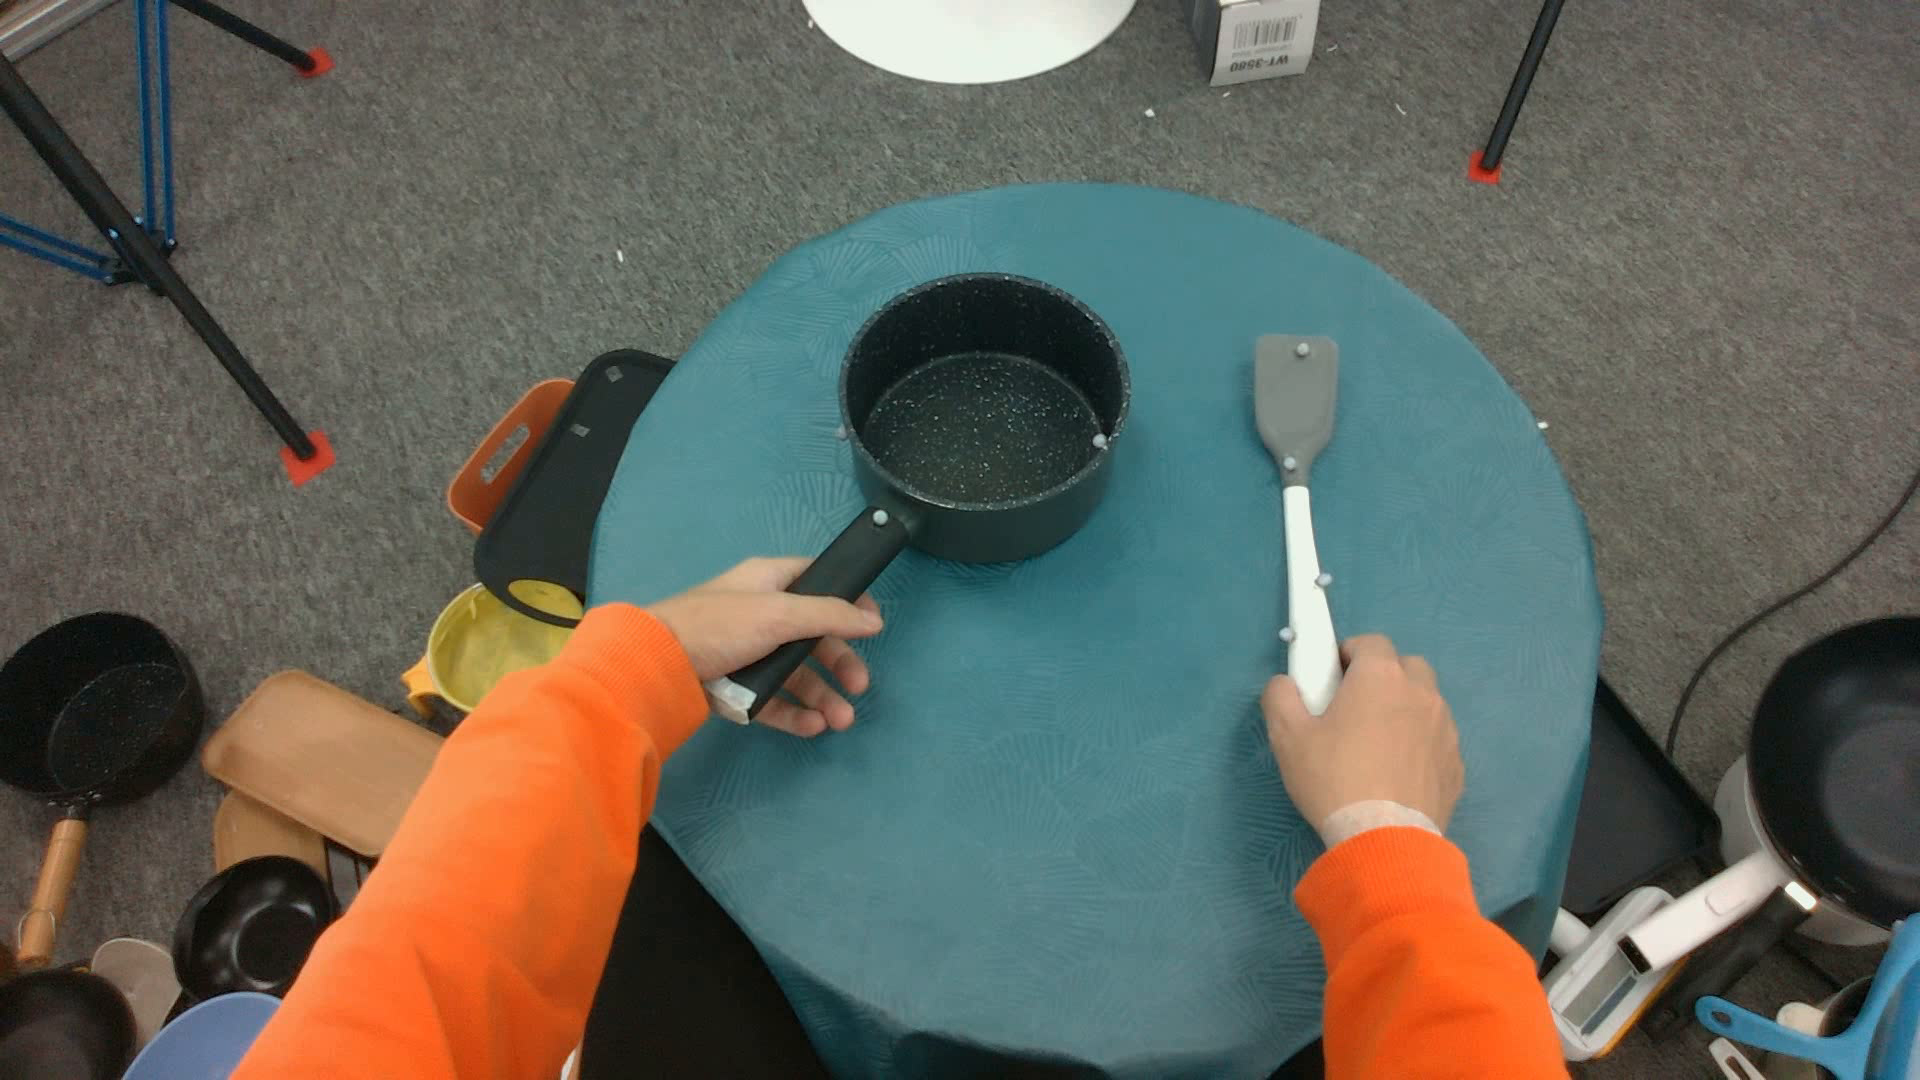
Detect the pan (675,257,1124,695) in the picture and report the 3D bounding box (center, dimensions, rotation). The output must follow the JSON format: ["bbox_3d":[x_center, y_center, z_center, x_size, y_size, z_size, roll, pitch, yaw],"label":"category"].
[{"bbox_3d":[-0.037,-0.026,0.794,0.172,0.086,0.330,31,63,18],"label":"pan"}]

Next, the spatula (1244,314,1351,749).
[{"bbox_3d":[0.203,-0.016,0.818,0.058,0.032,0.289,0,60,6],"label":"spatula"}]
